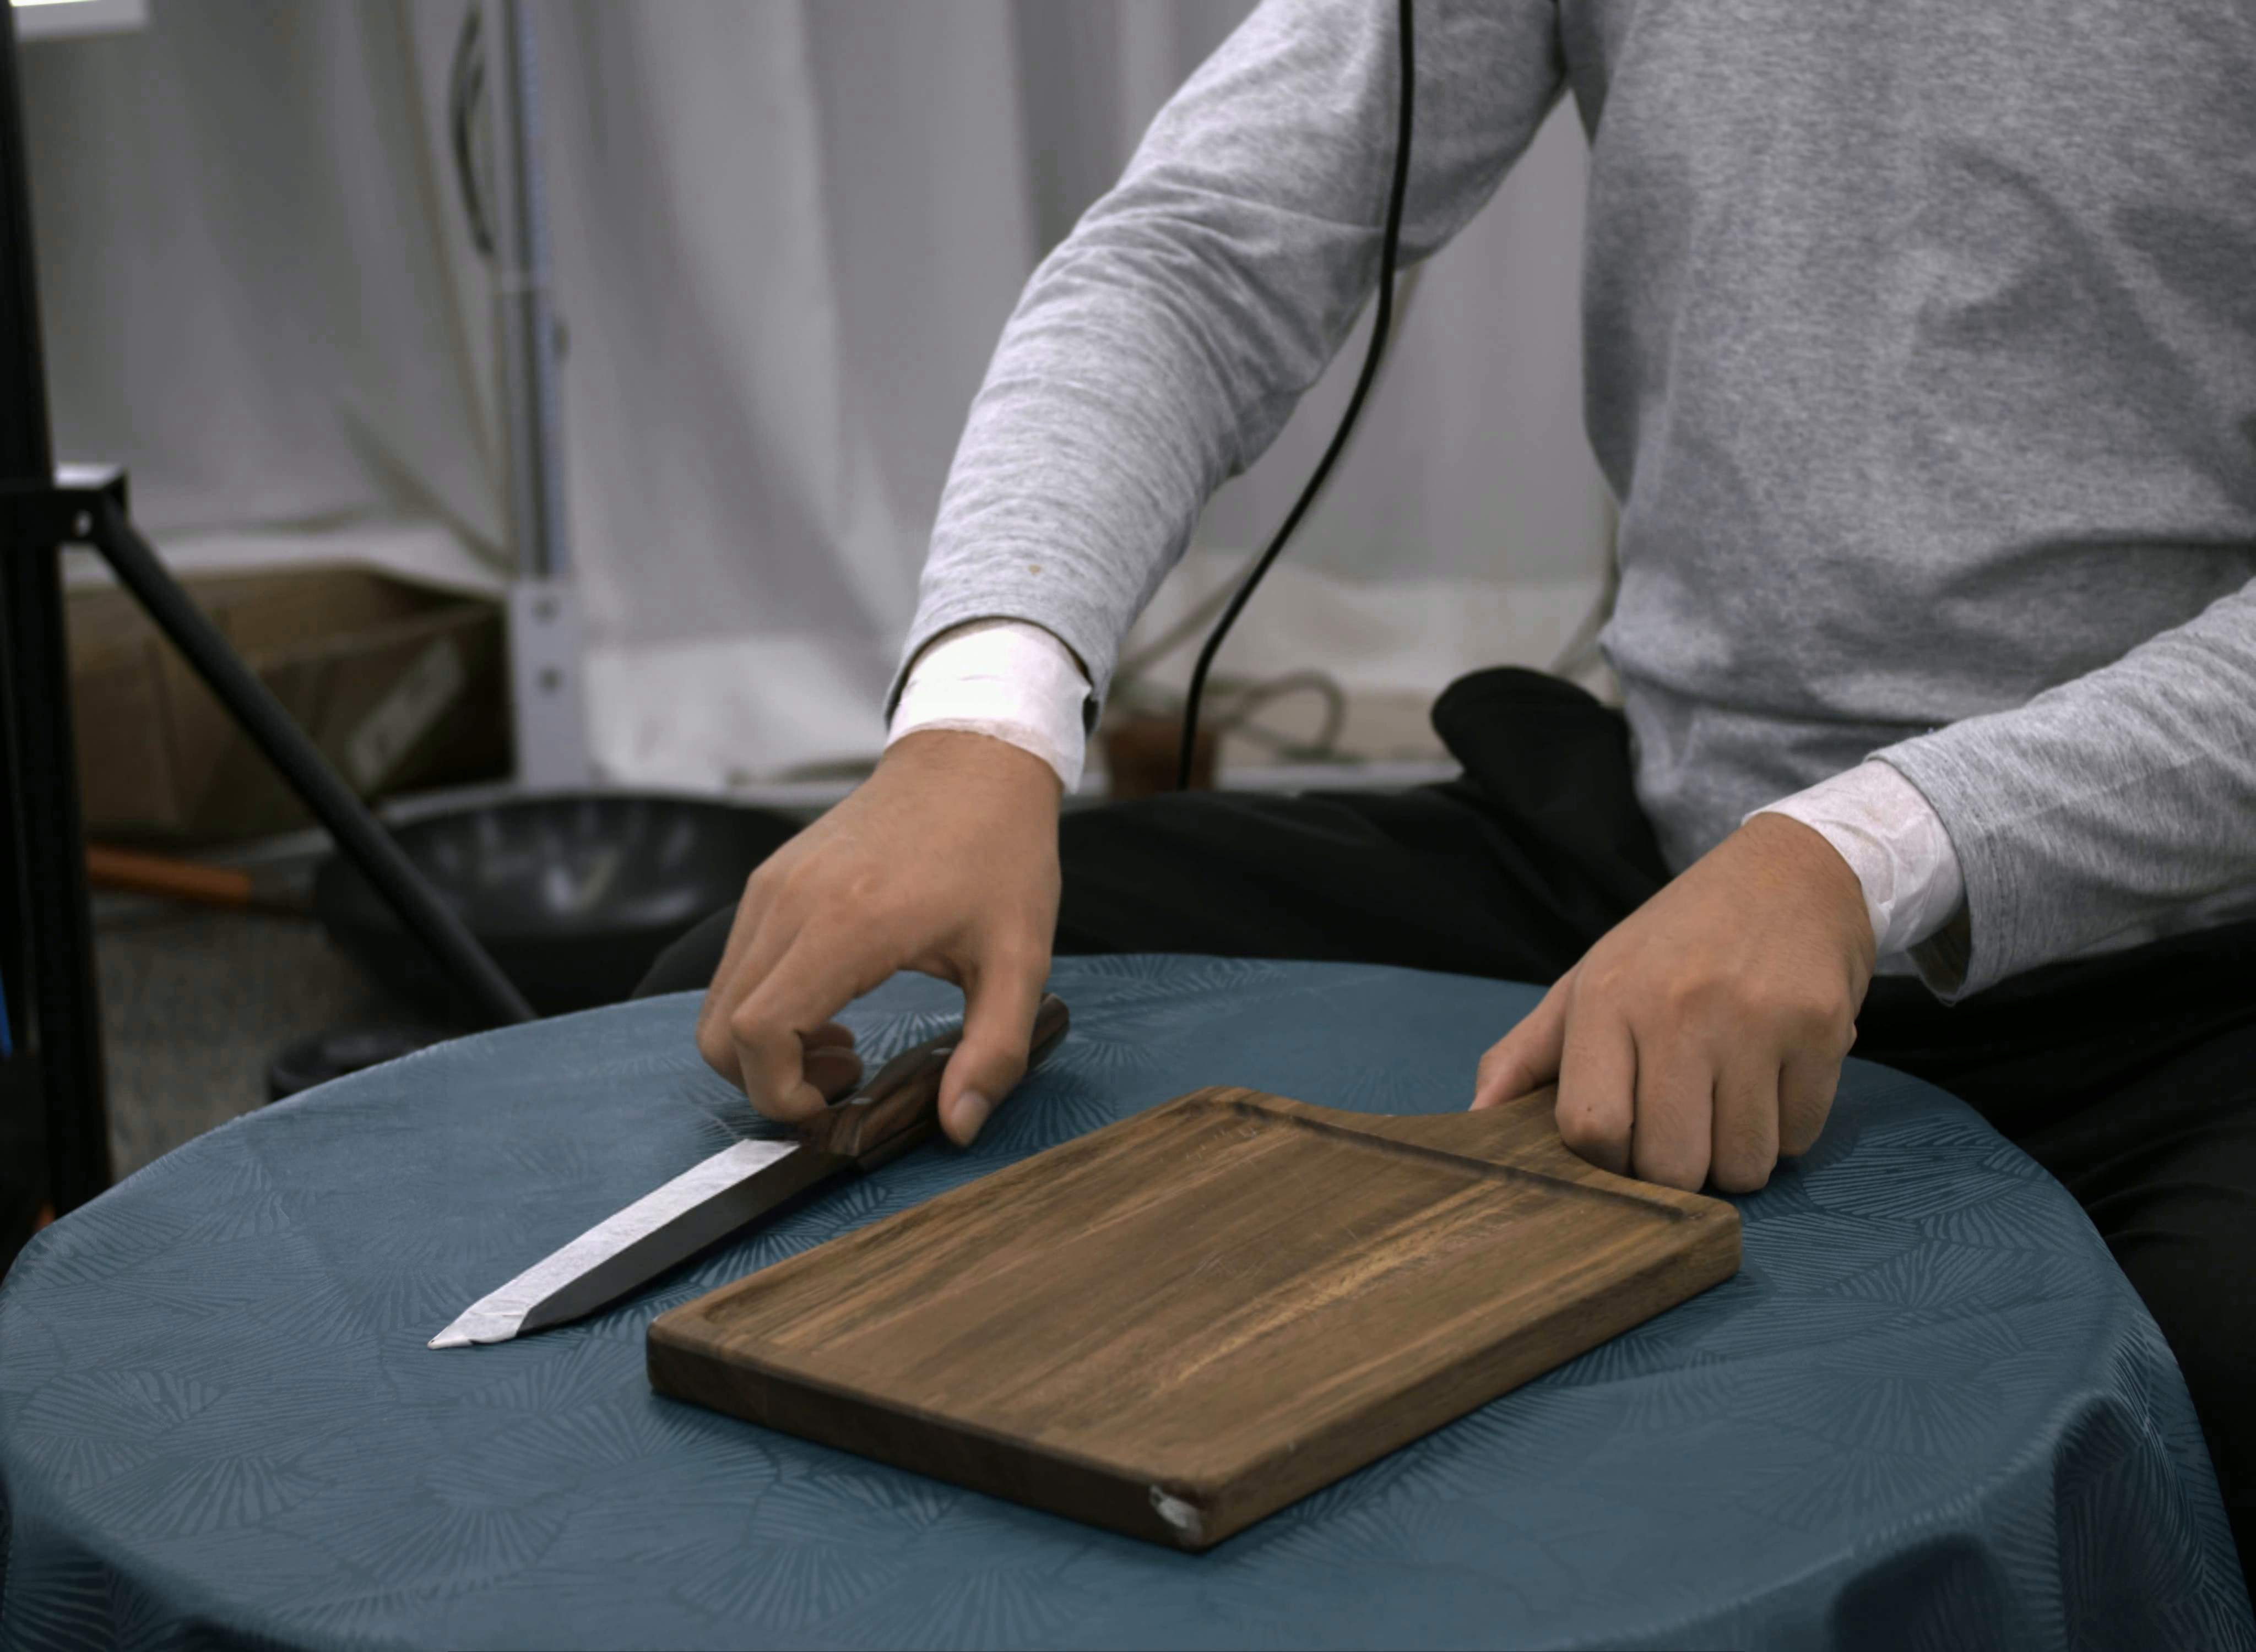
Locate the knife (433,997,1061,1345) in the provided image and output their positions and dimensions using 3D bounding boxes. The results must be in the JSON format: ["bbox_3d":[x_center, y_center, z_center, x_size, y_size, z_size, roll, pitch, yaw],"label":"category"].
[{"bbox_3d":[-0.107,0.103,1.571,0.051,0.020,0.283,3,18,36],"label":"knife"}]

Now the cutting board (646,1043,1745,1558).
[{"bbox_3d":[0.053,0.117,1.484,0.205,0.023,0.344,12,21,39],"label":"cutting board"}]
